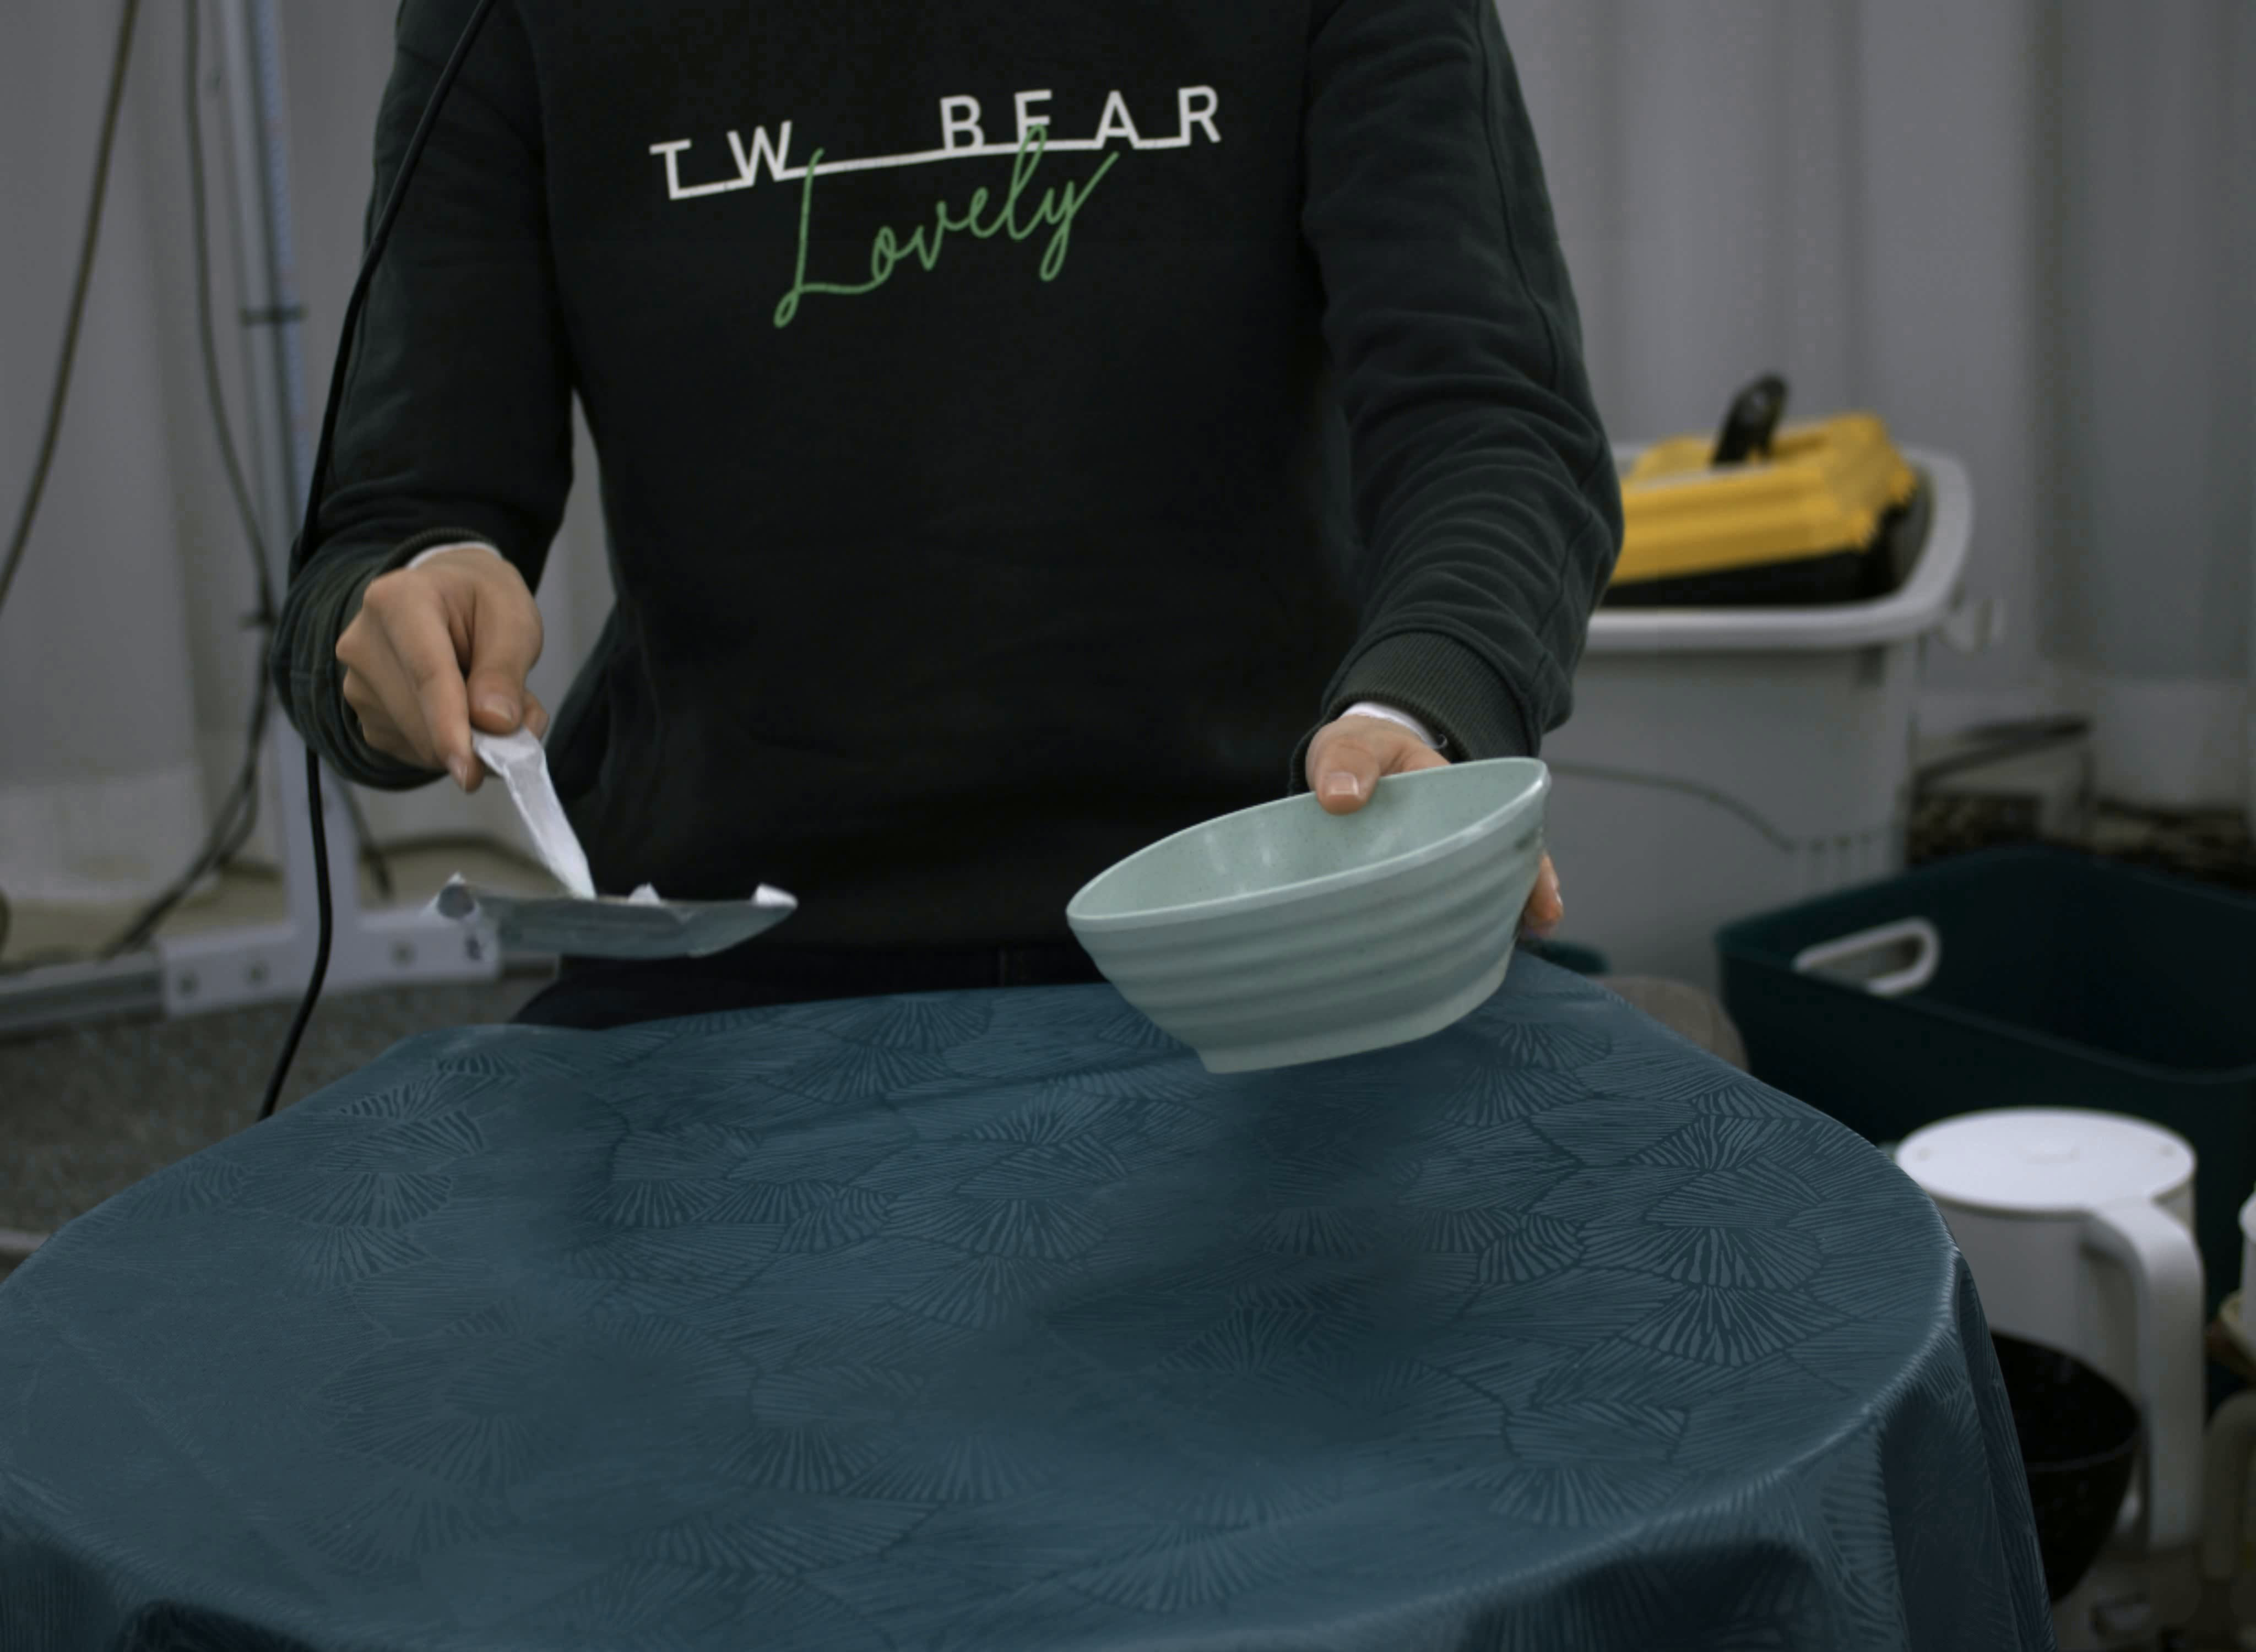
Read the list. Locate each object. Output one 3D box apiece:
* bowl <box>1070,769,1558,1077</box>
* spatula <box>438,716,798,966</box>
[{"bbox_3d":[0.060,0.032,1.591,0.151,0.058,0.152,-13,11,2],"label":"bowl"},{"bbox_3d":[-0.173,-0.006,1.646,0.098,0.044,0.368,2,14,-13],"label":"spatula"}]
